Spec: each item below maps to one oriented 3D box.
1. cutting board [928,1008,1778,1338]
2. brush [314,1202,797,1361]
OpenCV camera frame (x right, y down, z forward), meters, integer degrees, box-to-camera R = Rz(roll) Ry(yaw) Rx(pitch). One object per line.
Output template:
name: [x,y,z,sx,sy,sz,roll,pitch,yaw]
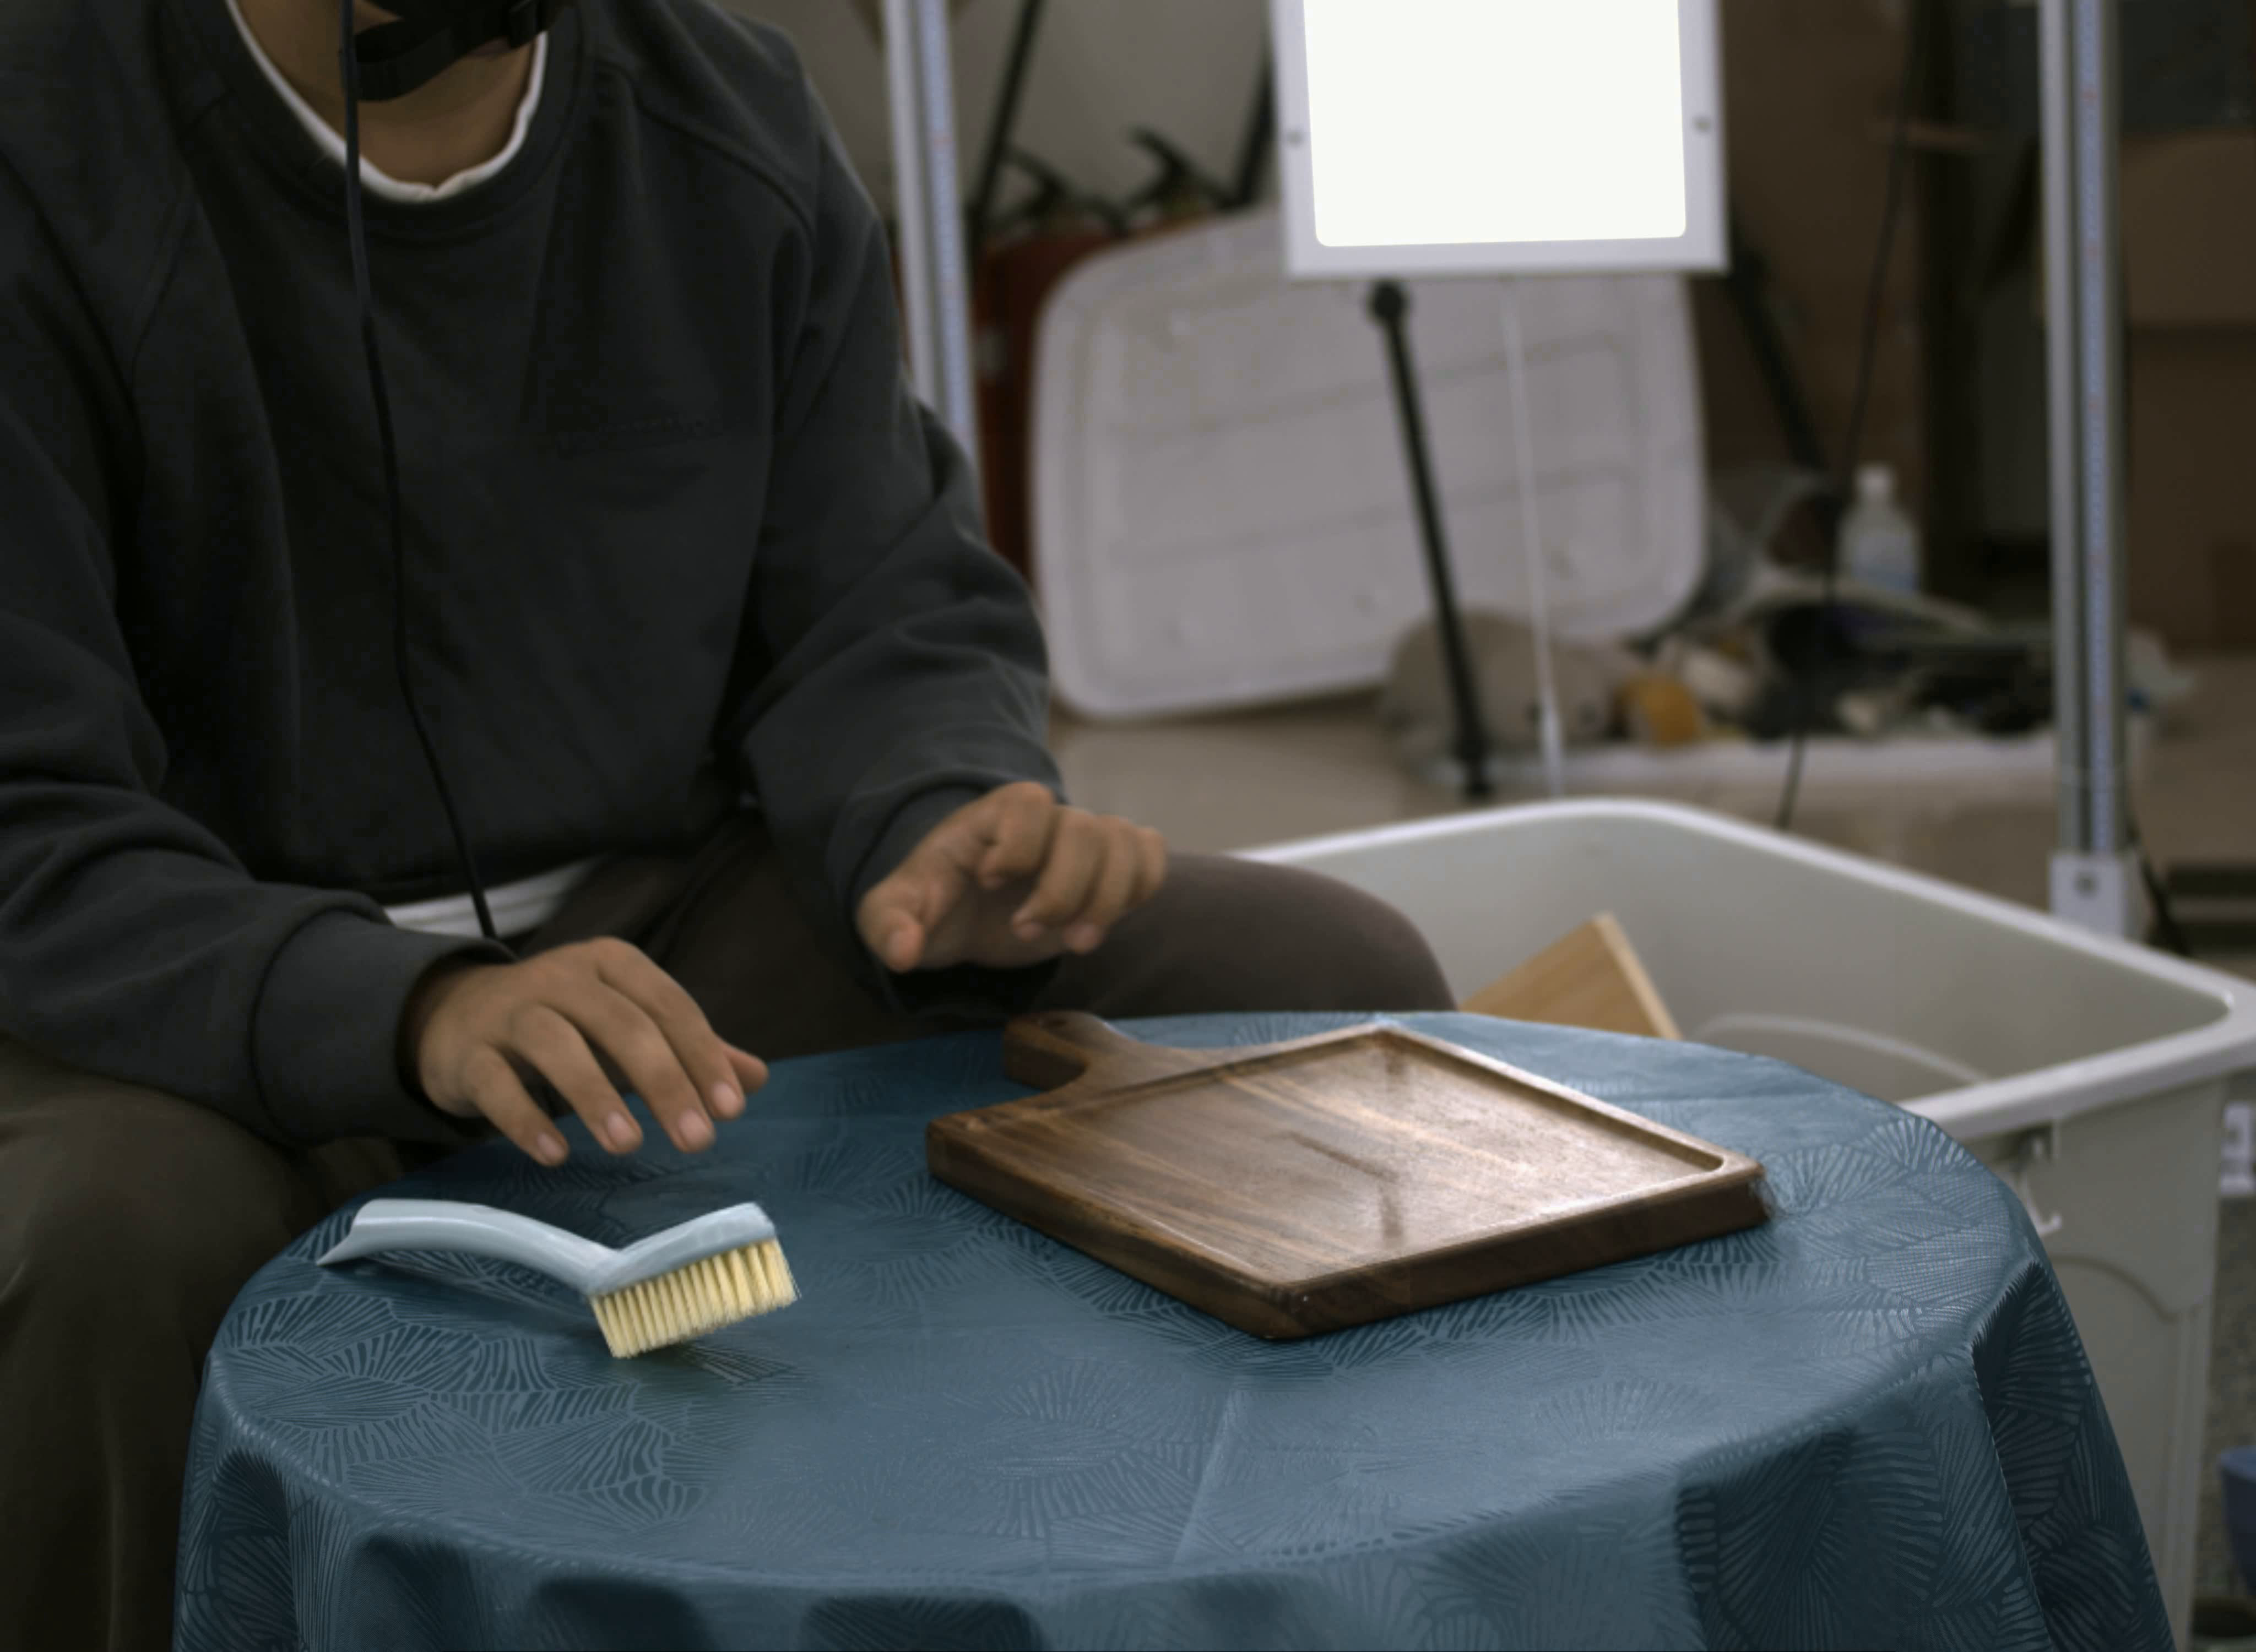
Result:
cutting board: [0.049,0.108,1.916,0.197,0.023,0.358,-11,15,-26]
brush: [-0.192,0.148,1.813,0.234,0.050,0.037,-4,4,45]
